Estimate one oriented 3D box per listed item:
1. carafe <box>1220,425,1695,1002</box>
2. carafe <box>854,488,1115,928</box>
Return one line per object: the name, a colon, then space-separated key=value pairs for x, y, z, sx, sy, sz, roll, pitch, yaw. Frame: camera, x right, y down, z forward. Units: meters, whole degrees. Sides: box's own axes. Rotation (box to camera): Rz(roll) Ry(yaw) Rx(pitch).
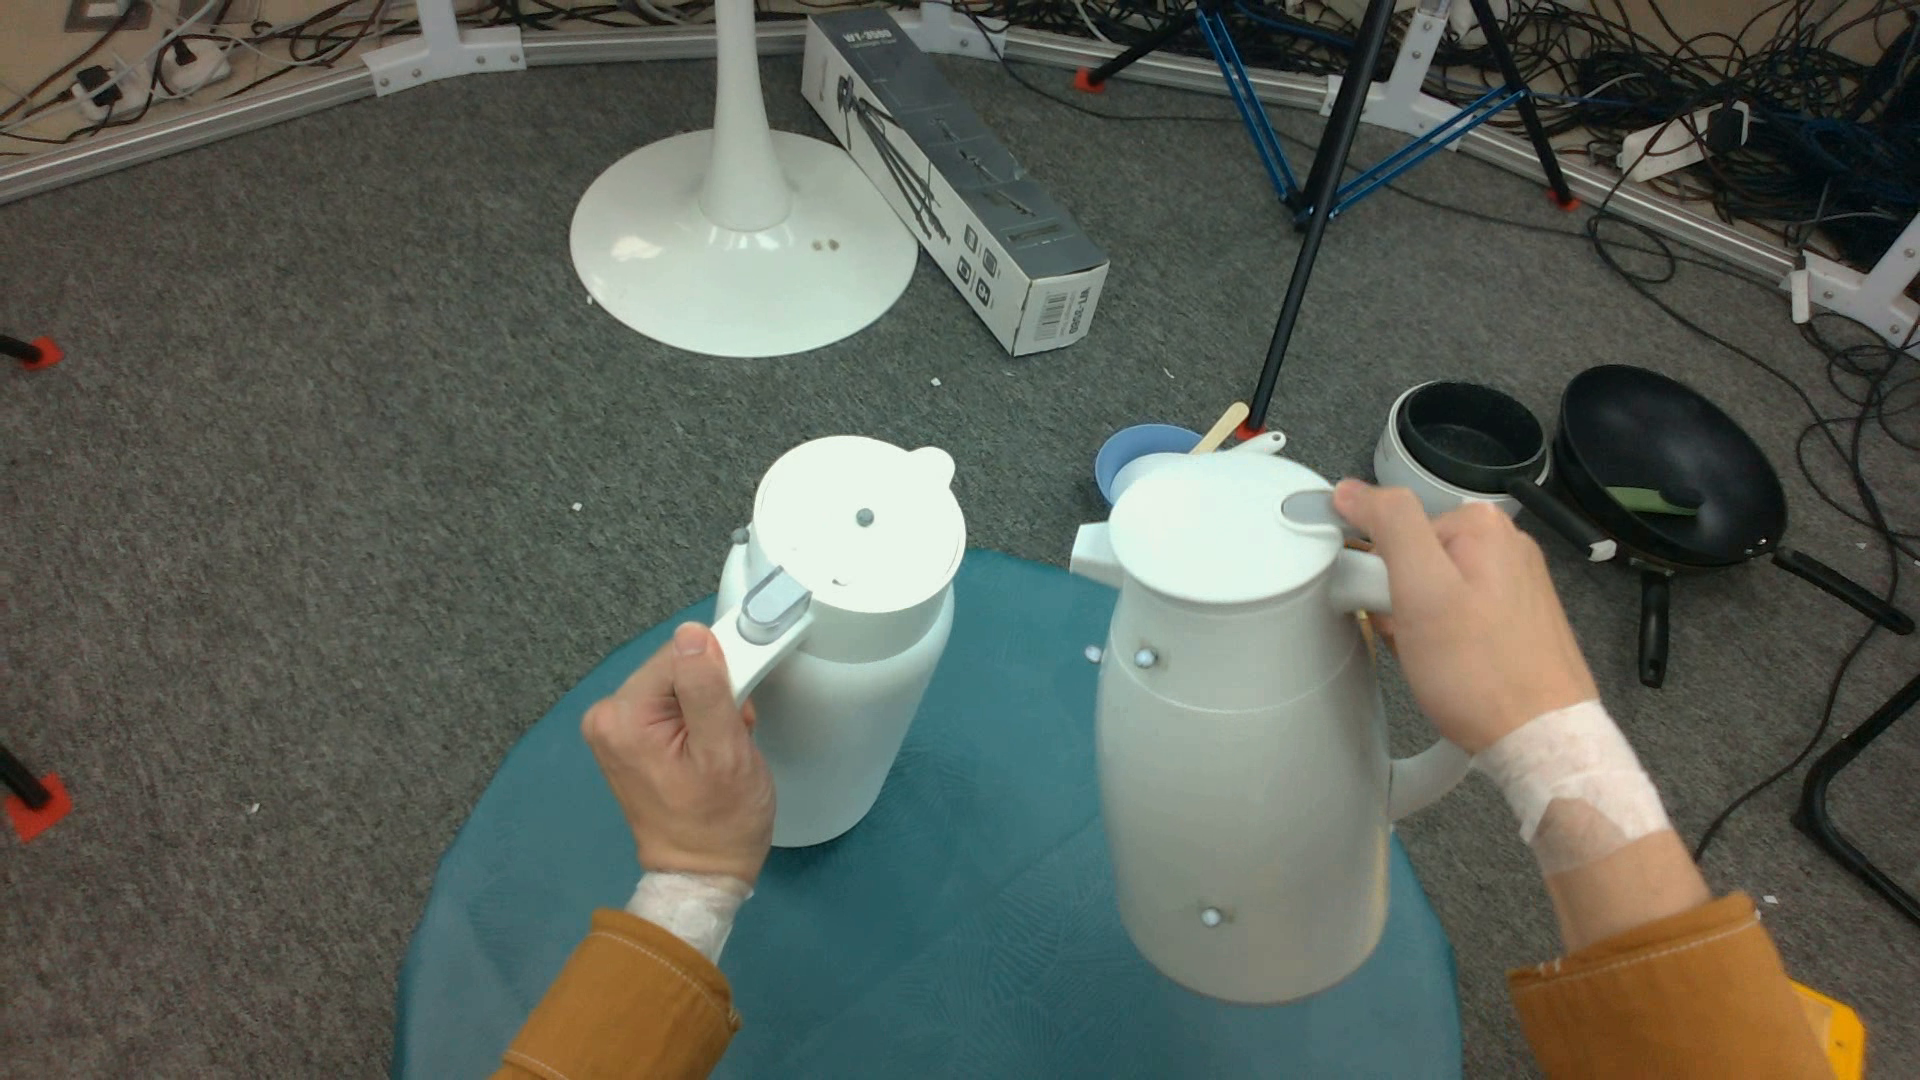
carafe: x=0.215 y=0.066 z=0.576 sx=0.167 sy=0.248 sz=0.133 roll=-11 pitch=38 yaw=21
carafe: x=0.007 y=0.111 z=0.717 sx=0.124 sy=0.267 sz=0.173 roll=29 pitch=55 yaw=15
